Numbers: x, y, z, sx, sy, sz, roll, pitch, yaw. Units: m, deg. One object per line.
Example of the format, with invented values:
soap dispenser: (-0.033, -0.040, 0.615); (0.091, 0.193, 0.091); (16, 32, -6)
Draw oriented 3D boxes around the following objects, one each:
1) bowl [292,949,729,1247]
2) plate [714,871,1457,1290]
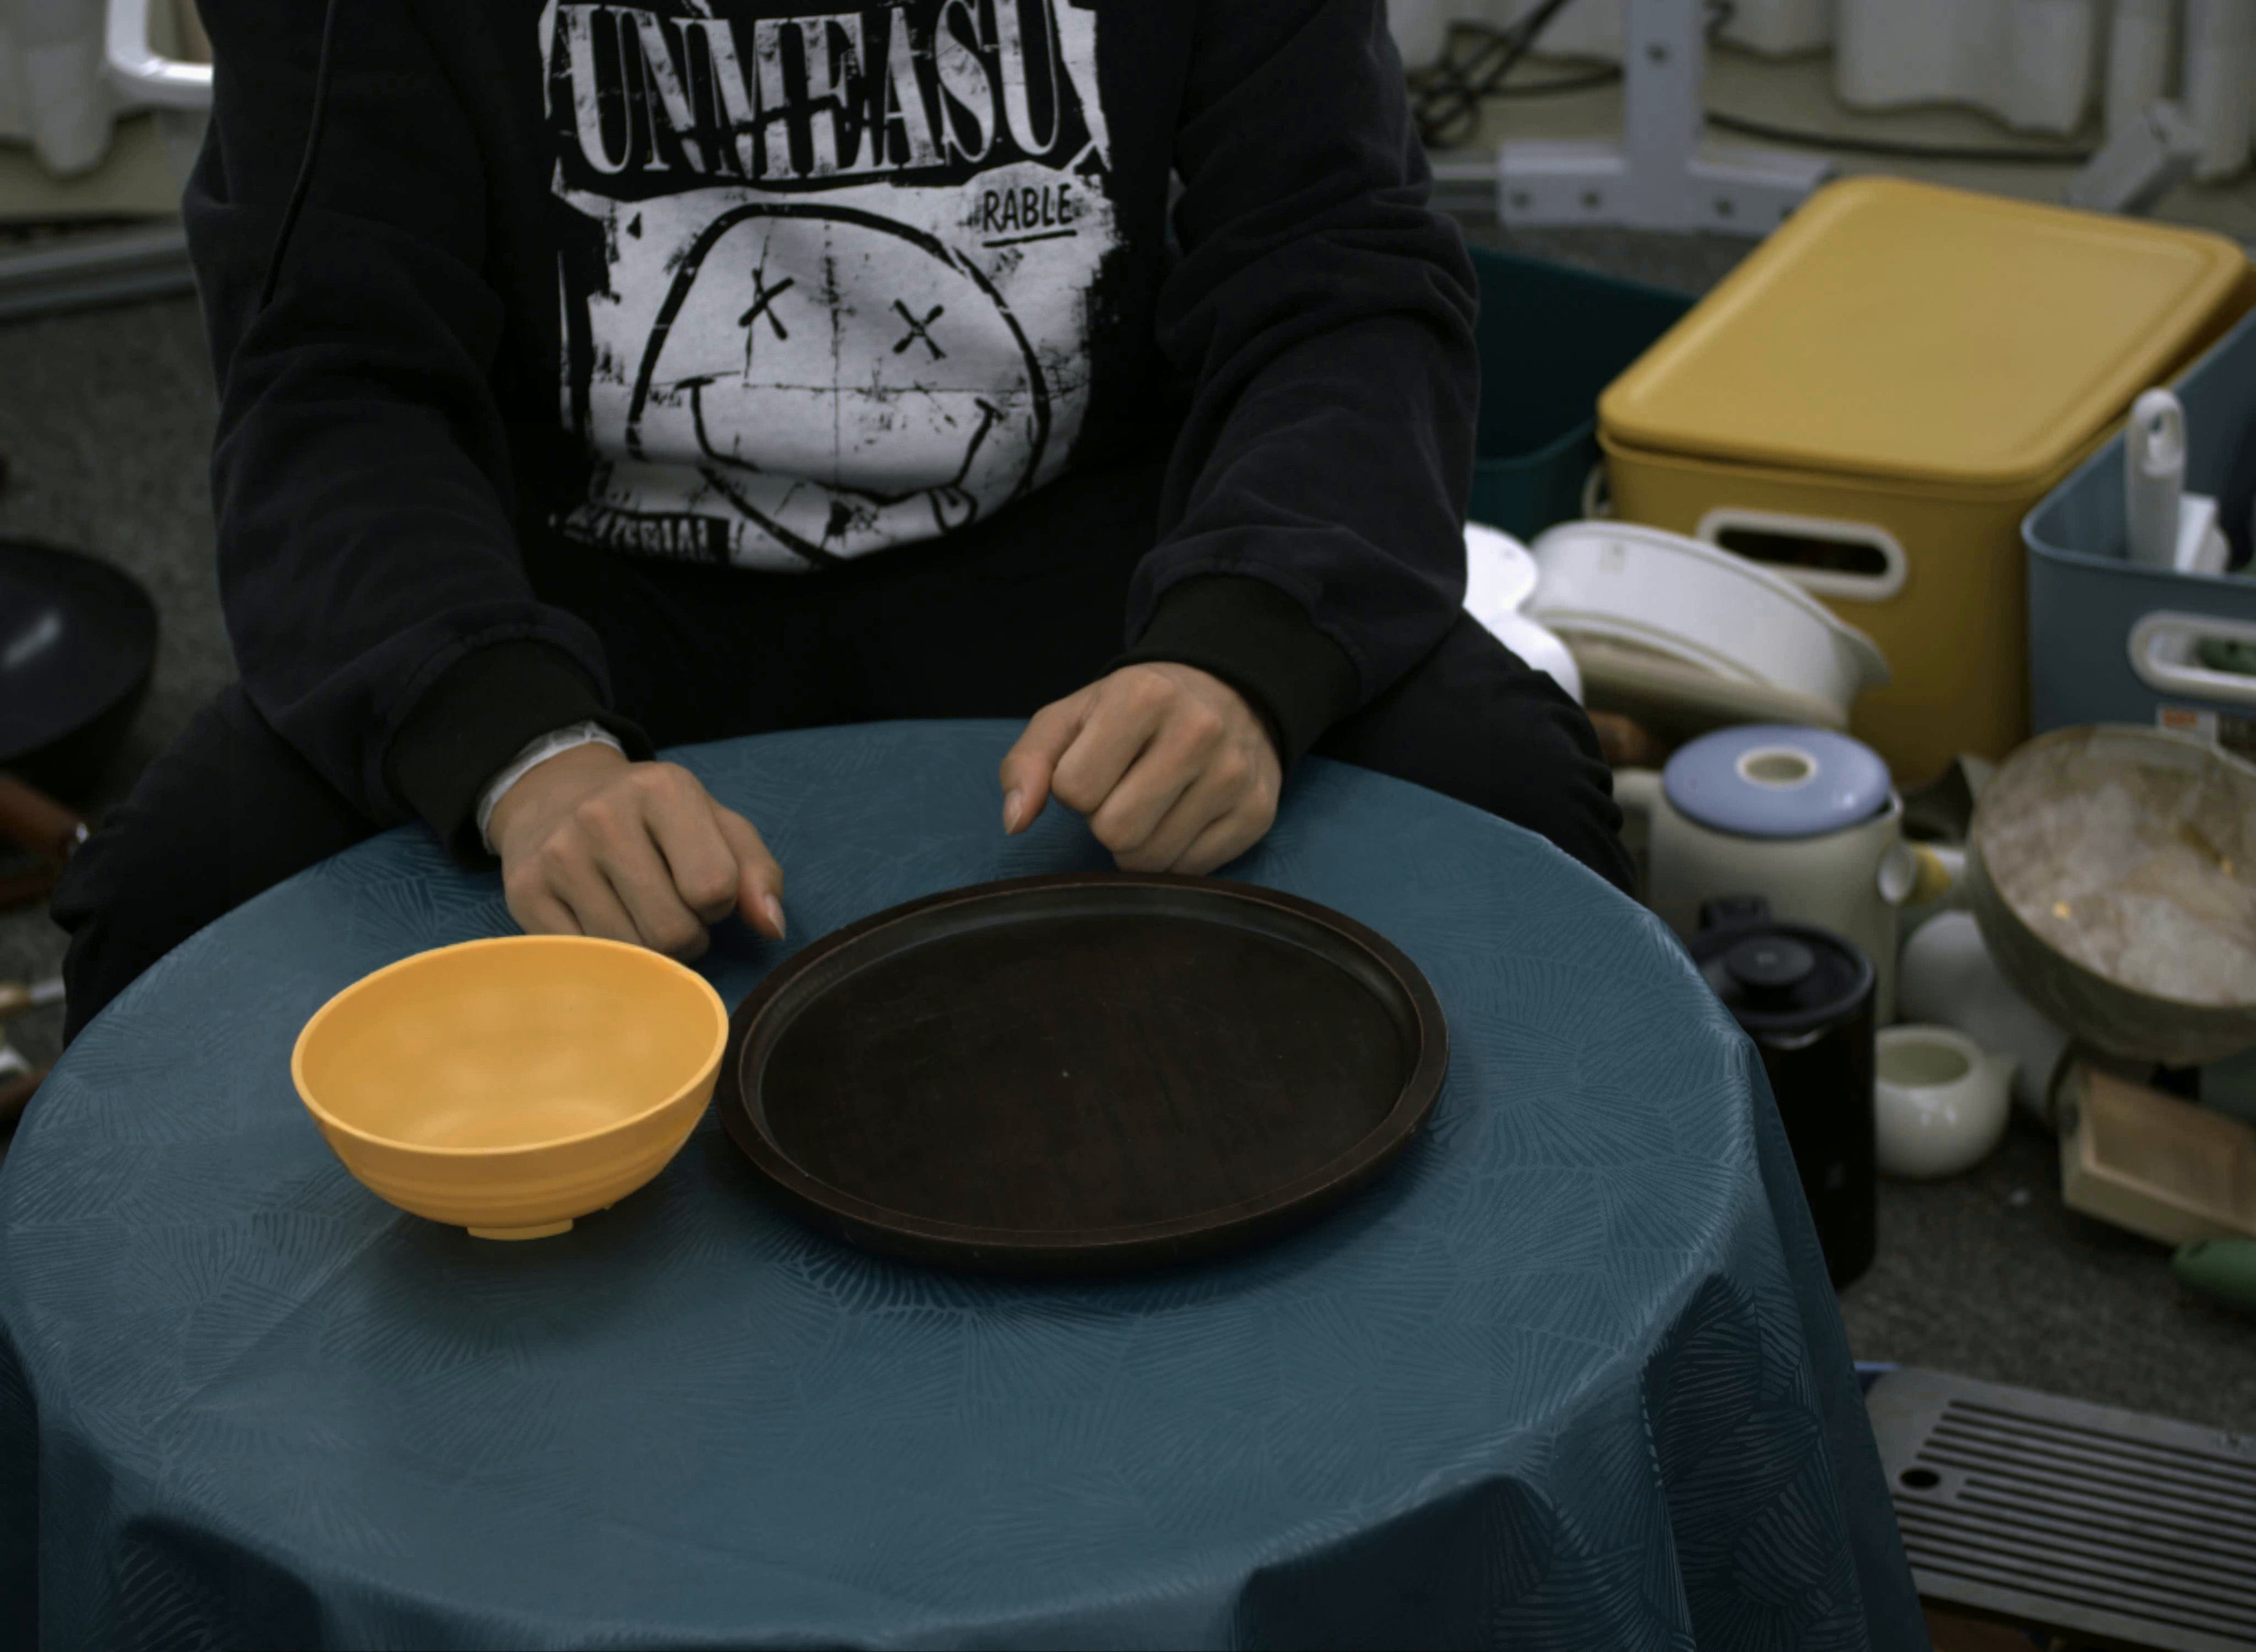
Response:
bowl: (-0.203, 0.099, 1.866); (0.144, 0.059, 0.147); (-1, 25, 1)
plate: (-0.015, 0.085, 1.910); (0.253, 0.029, 0.258); (-4, 27, 2)
